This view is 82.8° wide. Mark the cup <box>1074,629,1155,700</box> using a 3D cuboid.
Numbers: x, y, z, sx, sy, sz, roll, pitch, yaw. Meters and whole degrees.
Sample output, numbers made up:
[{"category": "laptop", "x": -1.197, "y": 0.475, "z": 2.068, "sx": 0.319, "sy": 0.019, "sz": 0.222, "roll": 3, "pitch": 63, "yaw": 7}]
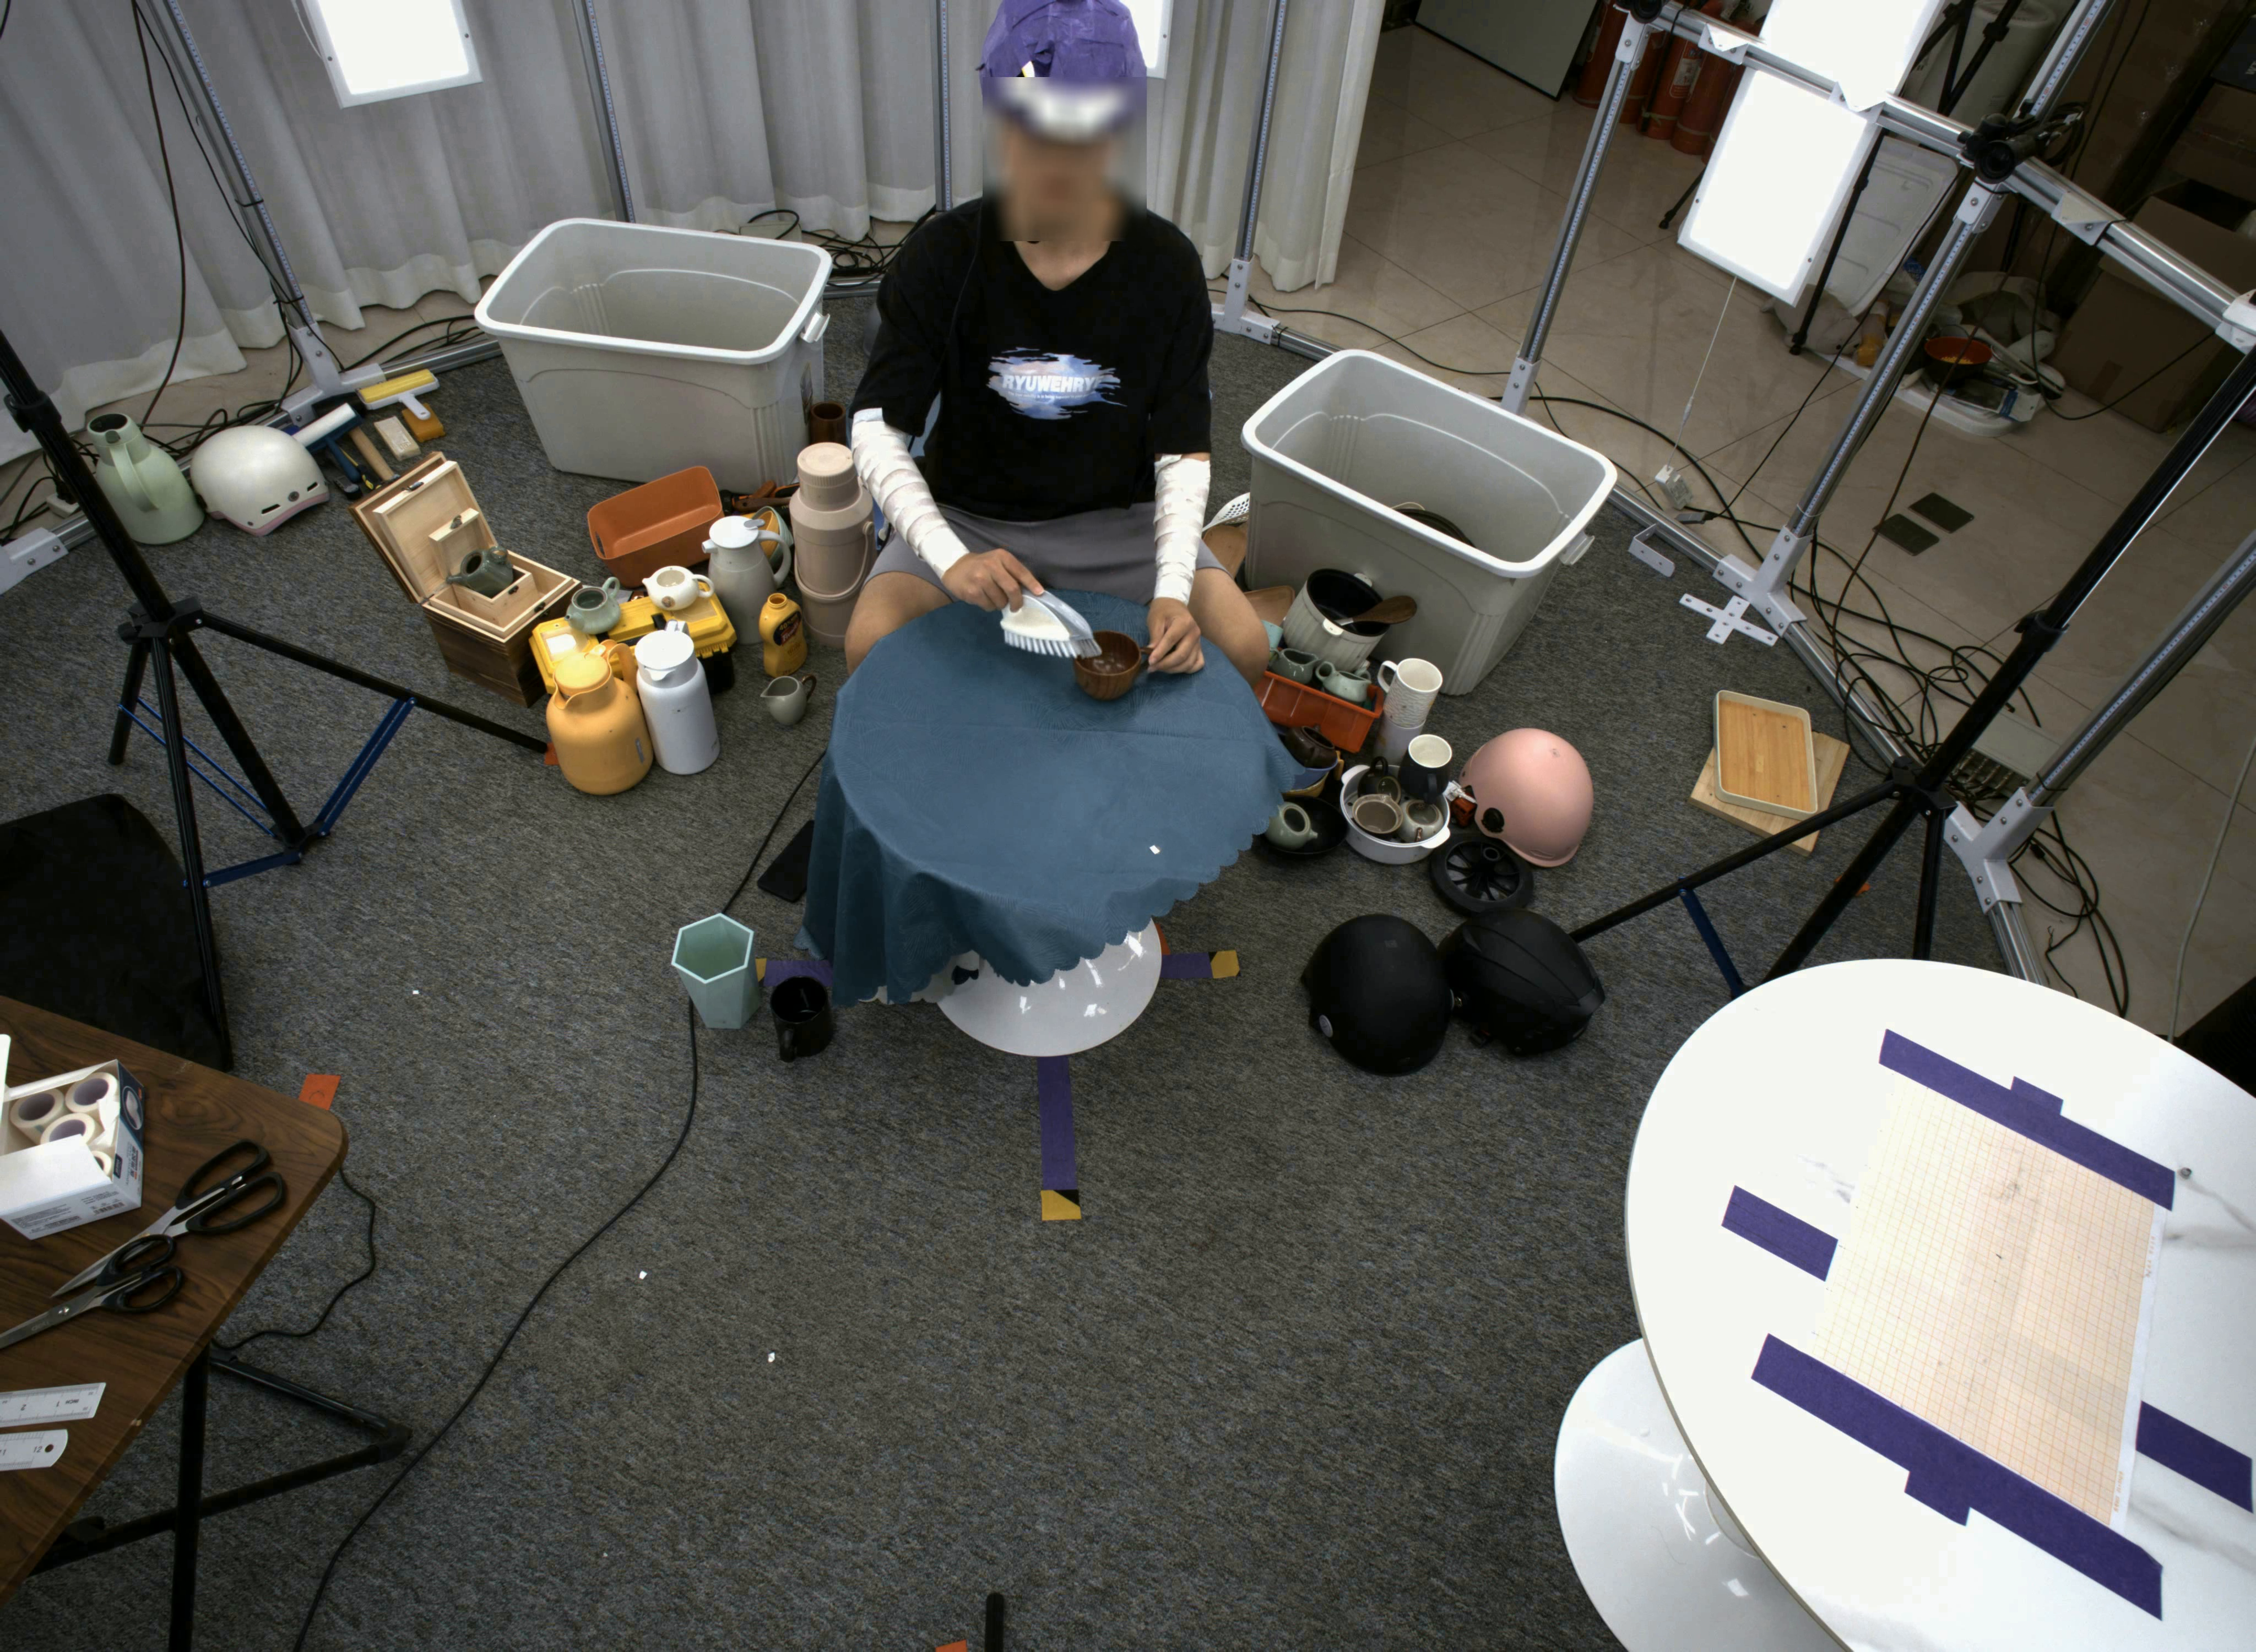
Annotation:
[{"category": "cup", "x": -0.018, "y": -0.226, "z": 1.824, "sx": 0.119, "sy": 0.066, "sz": 0.098, "roll": -11, "pitch": 49, "yaw": -15}]

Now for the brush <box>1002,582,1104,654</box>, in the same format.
[{"category": "brush", "x": -0.109, "y": -0.295, "z": 1.800, "sx": 0.178, "sy": 0.092, "sz": 0.062, "roll": 25, "pitch": 64, "yaw": 40}]
